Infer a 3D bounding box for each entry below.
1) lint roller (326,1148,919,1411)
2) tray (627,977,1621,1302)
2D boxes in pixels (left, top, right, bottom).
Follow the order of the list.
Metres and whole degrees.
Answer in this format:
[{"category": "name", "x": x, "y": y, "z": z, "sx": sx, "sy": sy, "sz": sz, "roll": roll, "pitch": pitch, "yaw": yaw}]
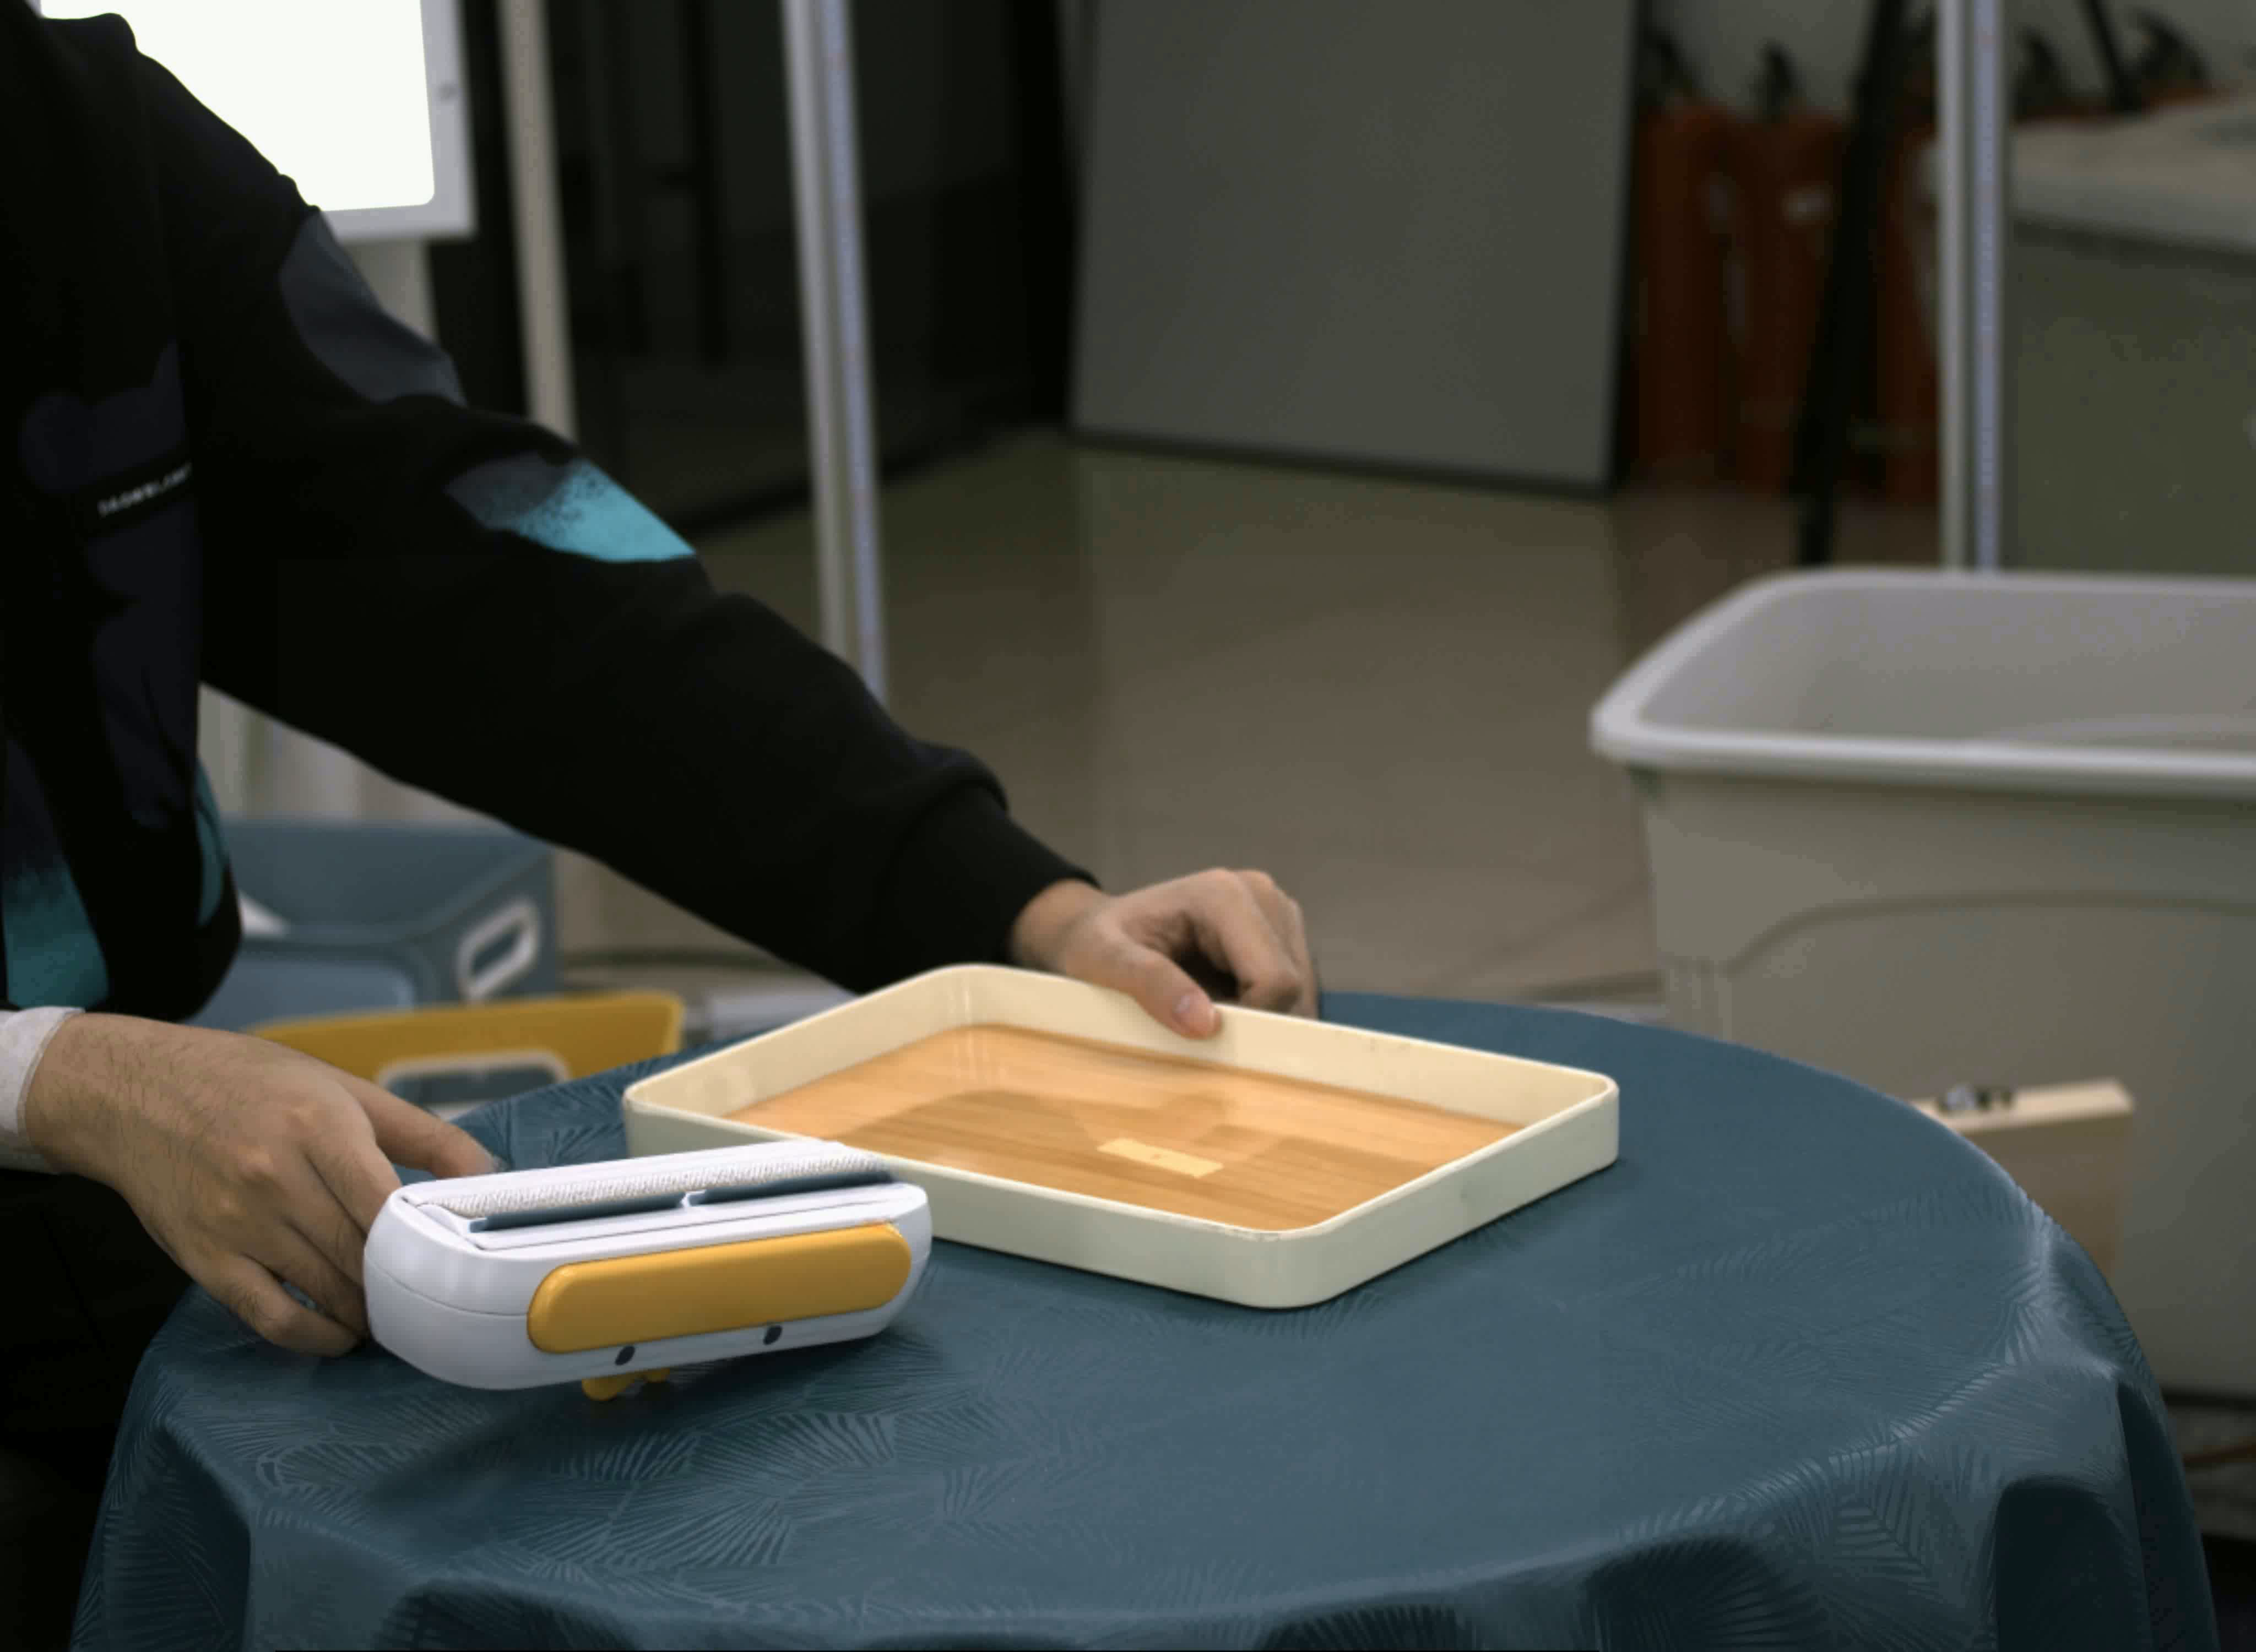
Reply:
[{"category": "lint roller", "x": -0.183, "y": 0.127, "z": 1.648, "sx": 0.188, "sy": 0.075, "sz": 0.194, "roll": -8, "pitch": 14, "yaw": -38}, {"category": "tray", "x": -0.003, "y": 0.101, "z": 1.798, "sx": 0.303, "sy": 0.028, "sz": 0.188, "roll": 8, "pitch": 17, "yaw": 41}]
